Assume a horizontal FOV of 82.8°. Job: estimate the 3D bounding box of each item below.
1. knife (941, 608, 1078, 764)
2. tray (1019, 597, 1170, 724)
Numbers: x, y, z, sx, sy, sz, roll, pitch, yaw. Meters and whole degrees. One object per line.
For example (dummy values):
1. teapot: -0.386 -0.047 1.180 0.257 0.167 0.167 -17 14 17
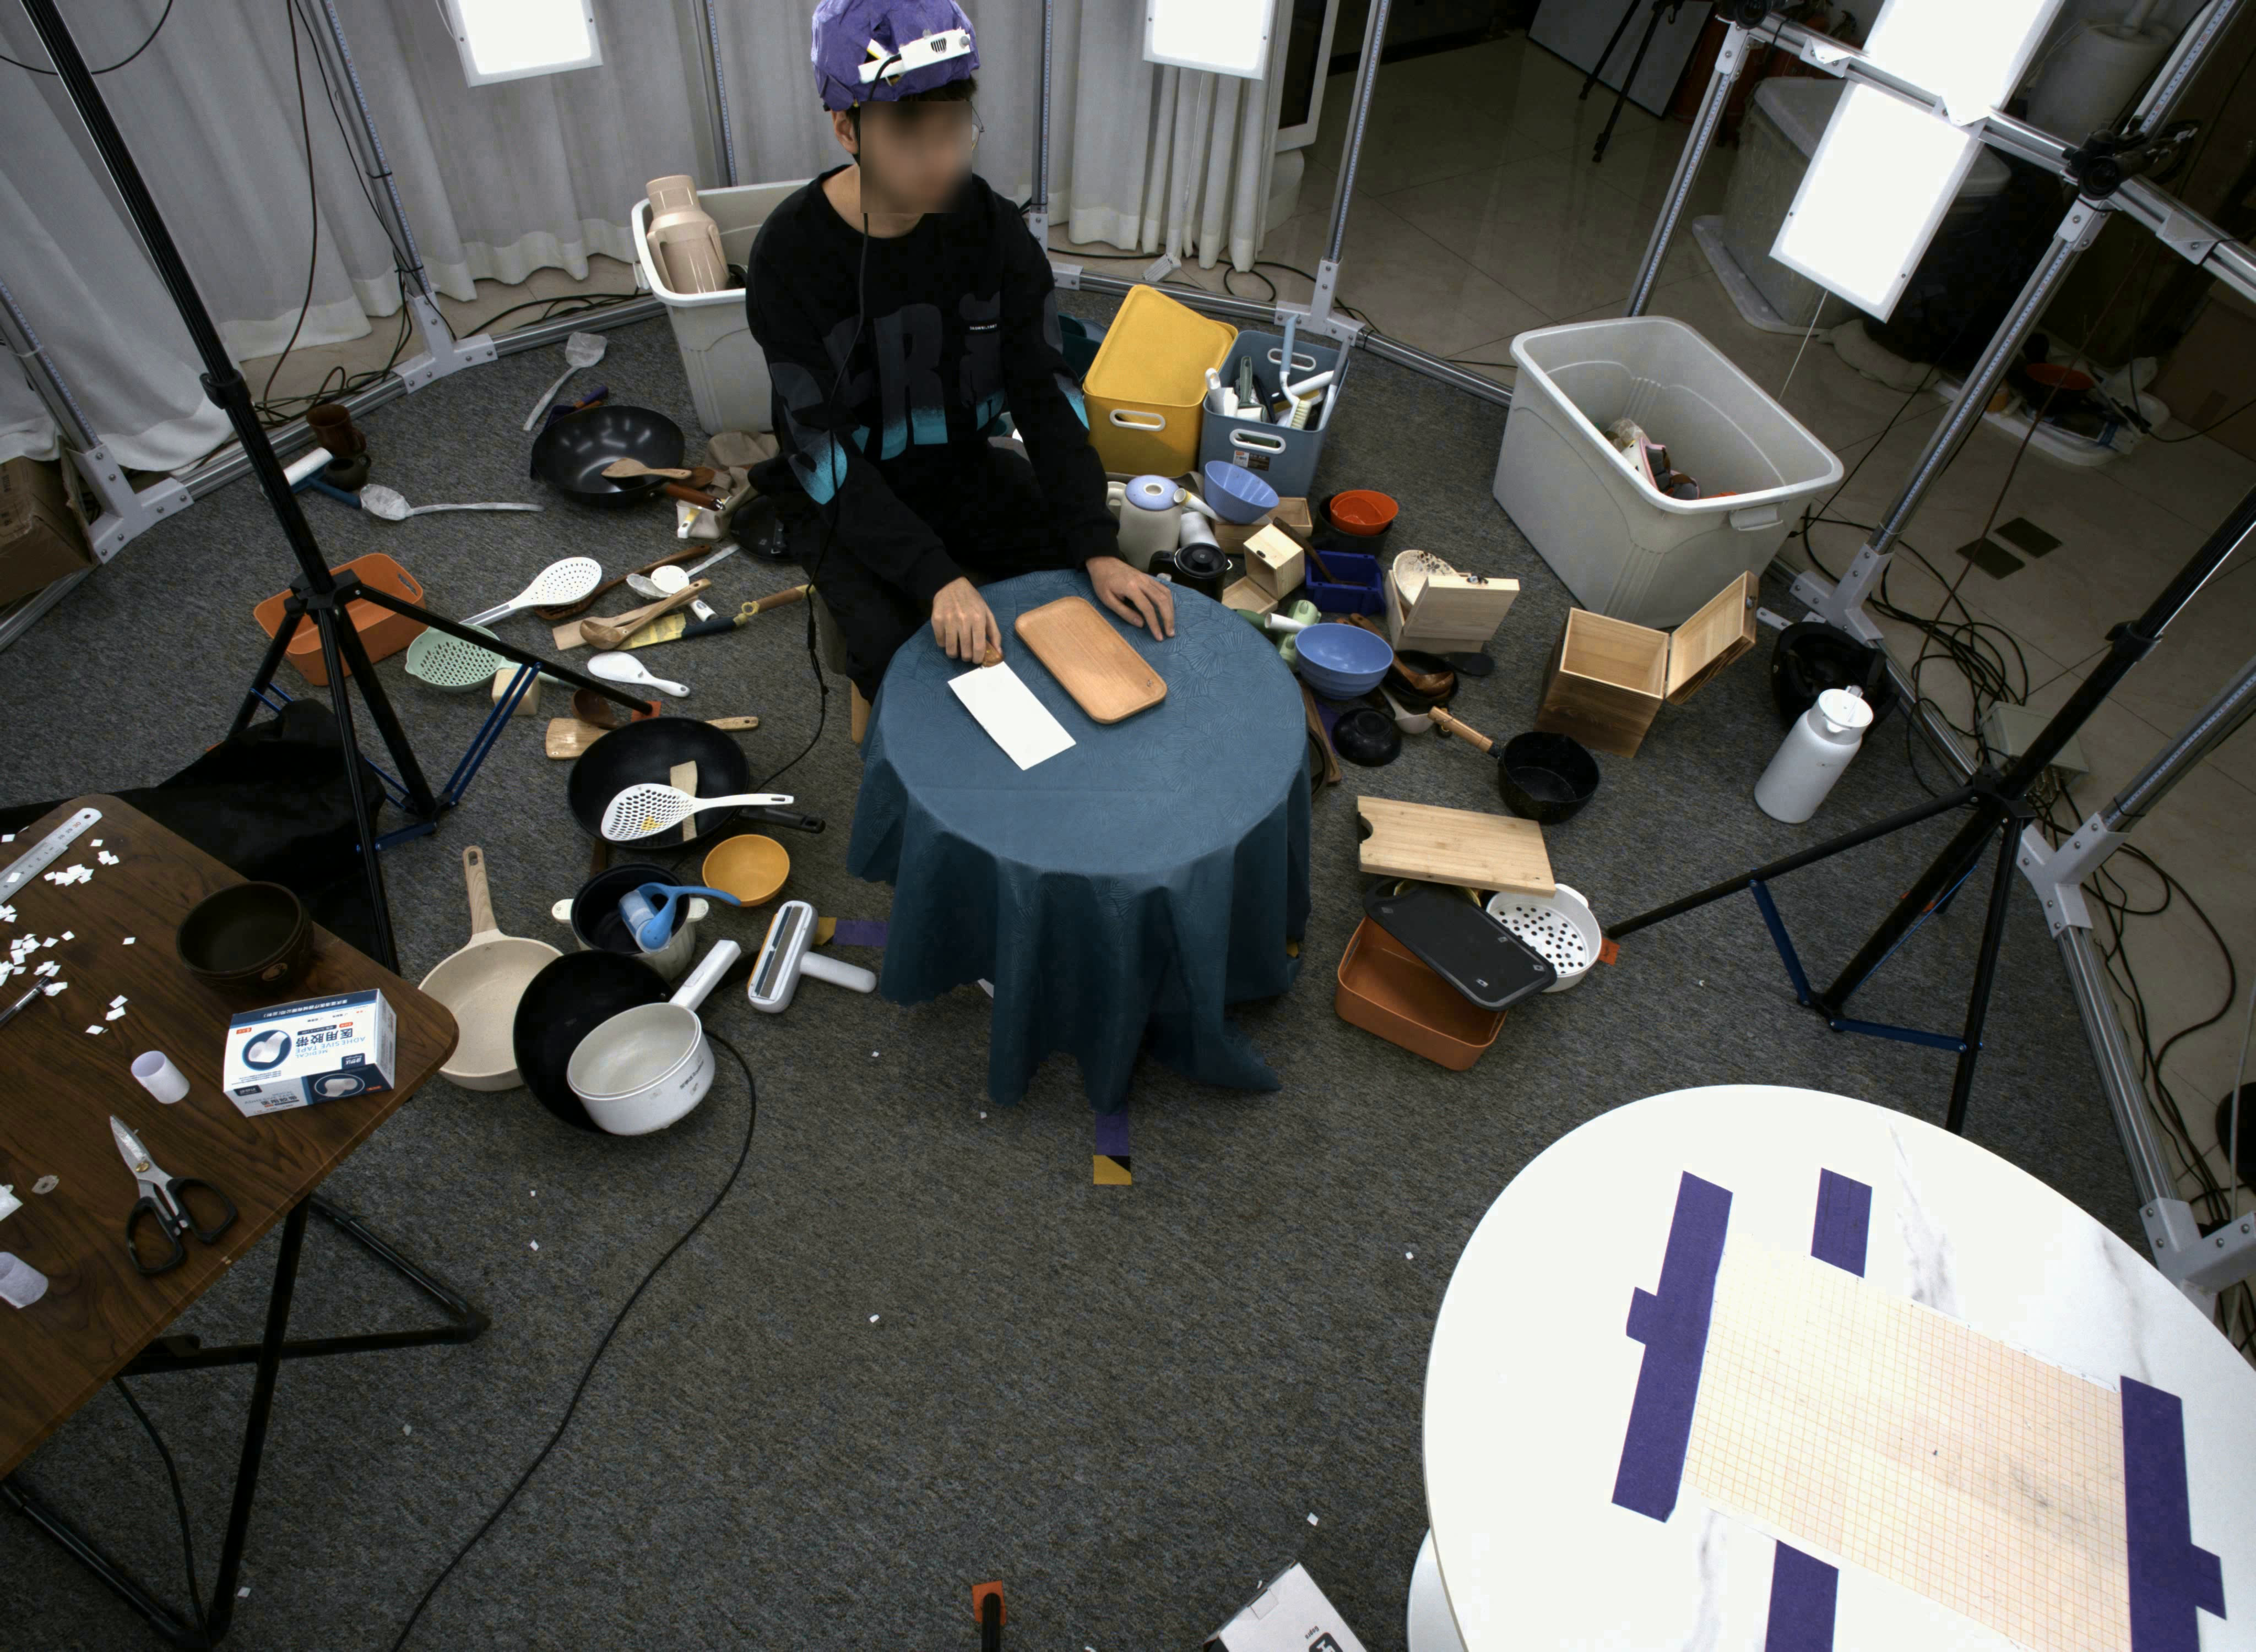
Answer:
1. knife: -0.191 -0.197 1.812 0.093 0.020 0.311 -28 60 -25
2. tray: -0.051 -0.243 1.867 0.131 0.022 0.256 -22 53 -24
